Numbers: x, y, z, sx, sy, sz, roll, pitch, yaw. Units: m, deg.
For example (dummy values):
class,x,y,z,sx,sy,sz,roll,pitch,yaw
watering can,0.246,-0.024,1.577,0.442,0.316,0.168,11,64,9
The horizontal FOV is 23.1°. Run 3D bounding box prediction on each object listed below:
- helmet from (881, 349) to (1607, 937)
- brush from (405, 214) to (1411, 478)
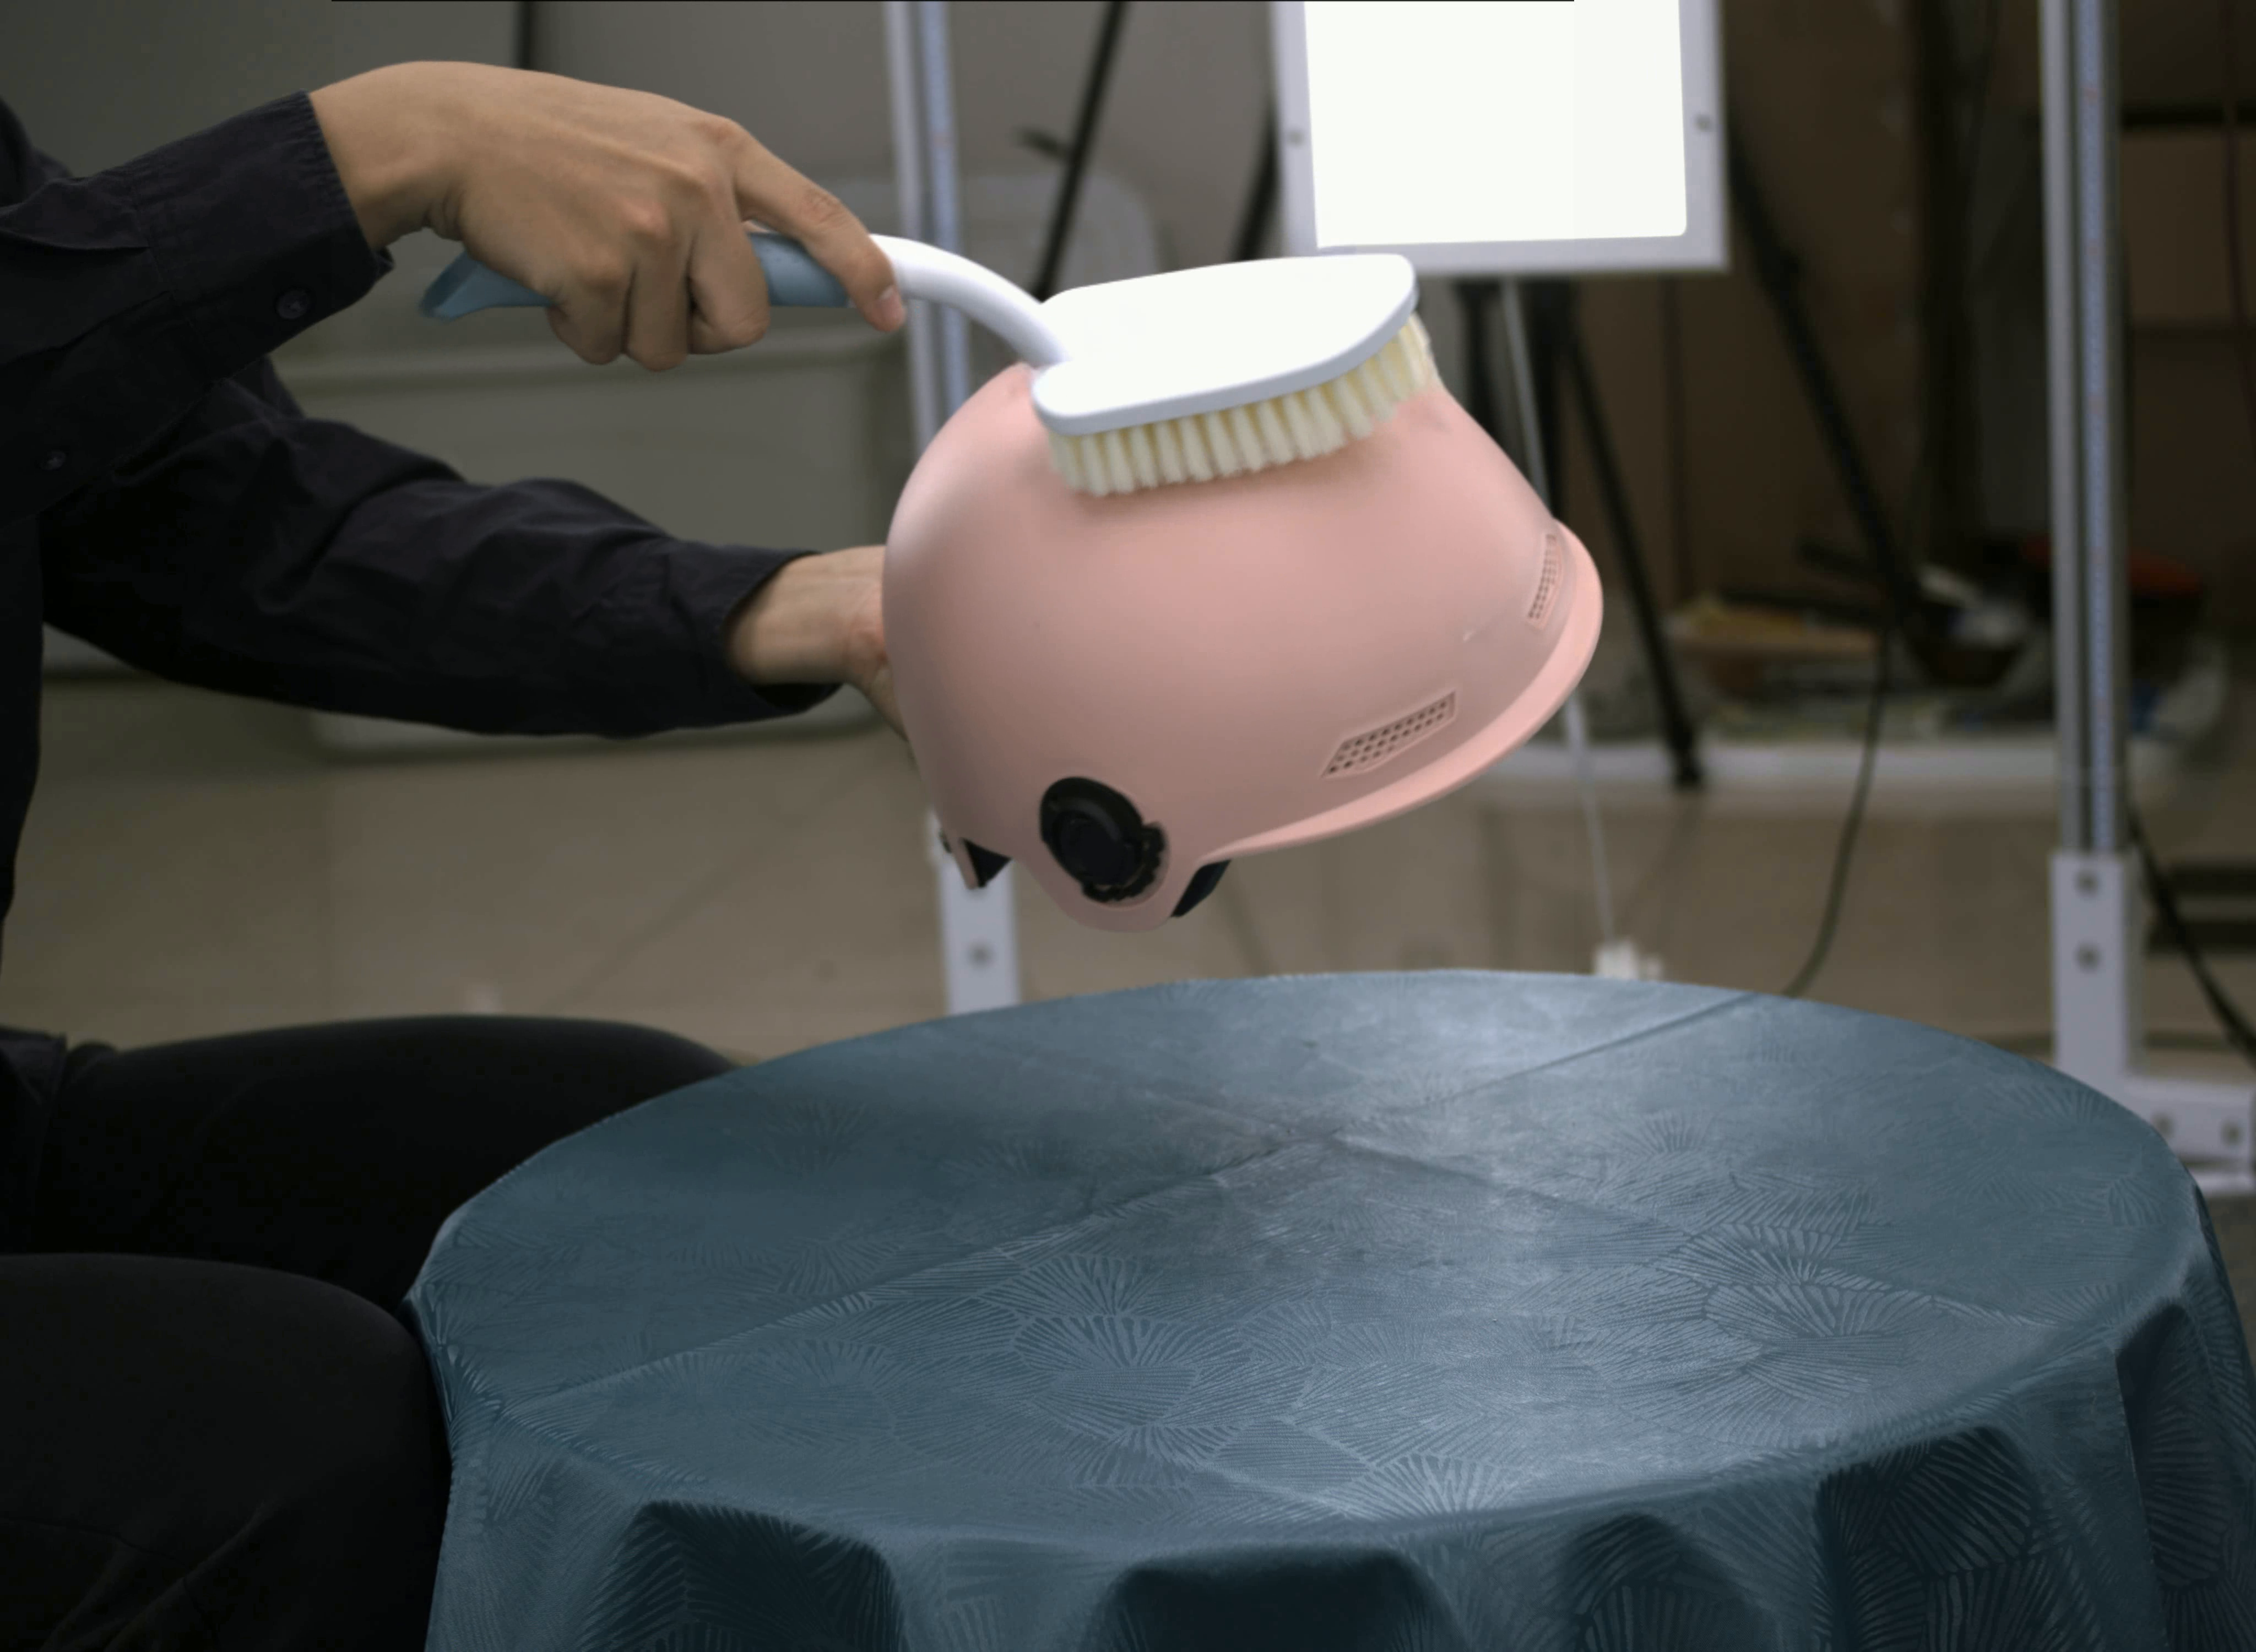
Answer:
class,x,y,z,sx,sy,sz,roll,pitch,yaw
helmet,0.023,-0.091,1.867,0.272,0.158,0.230,6,42,48
brush,-0.070,-0.155,1.786,0.324,0.085,0.083,0,5,1
